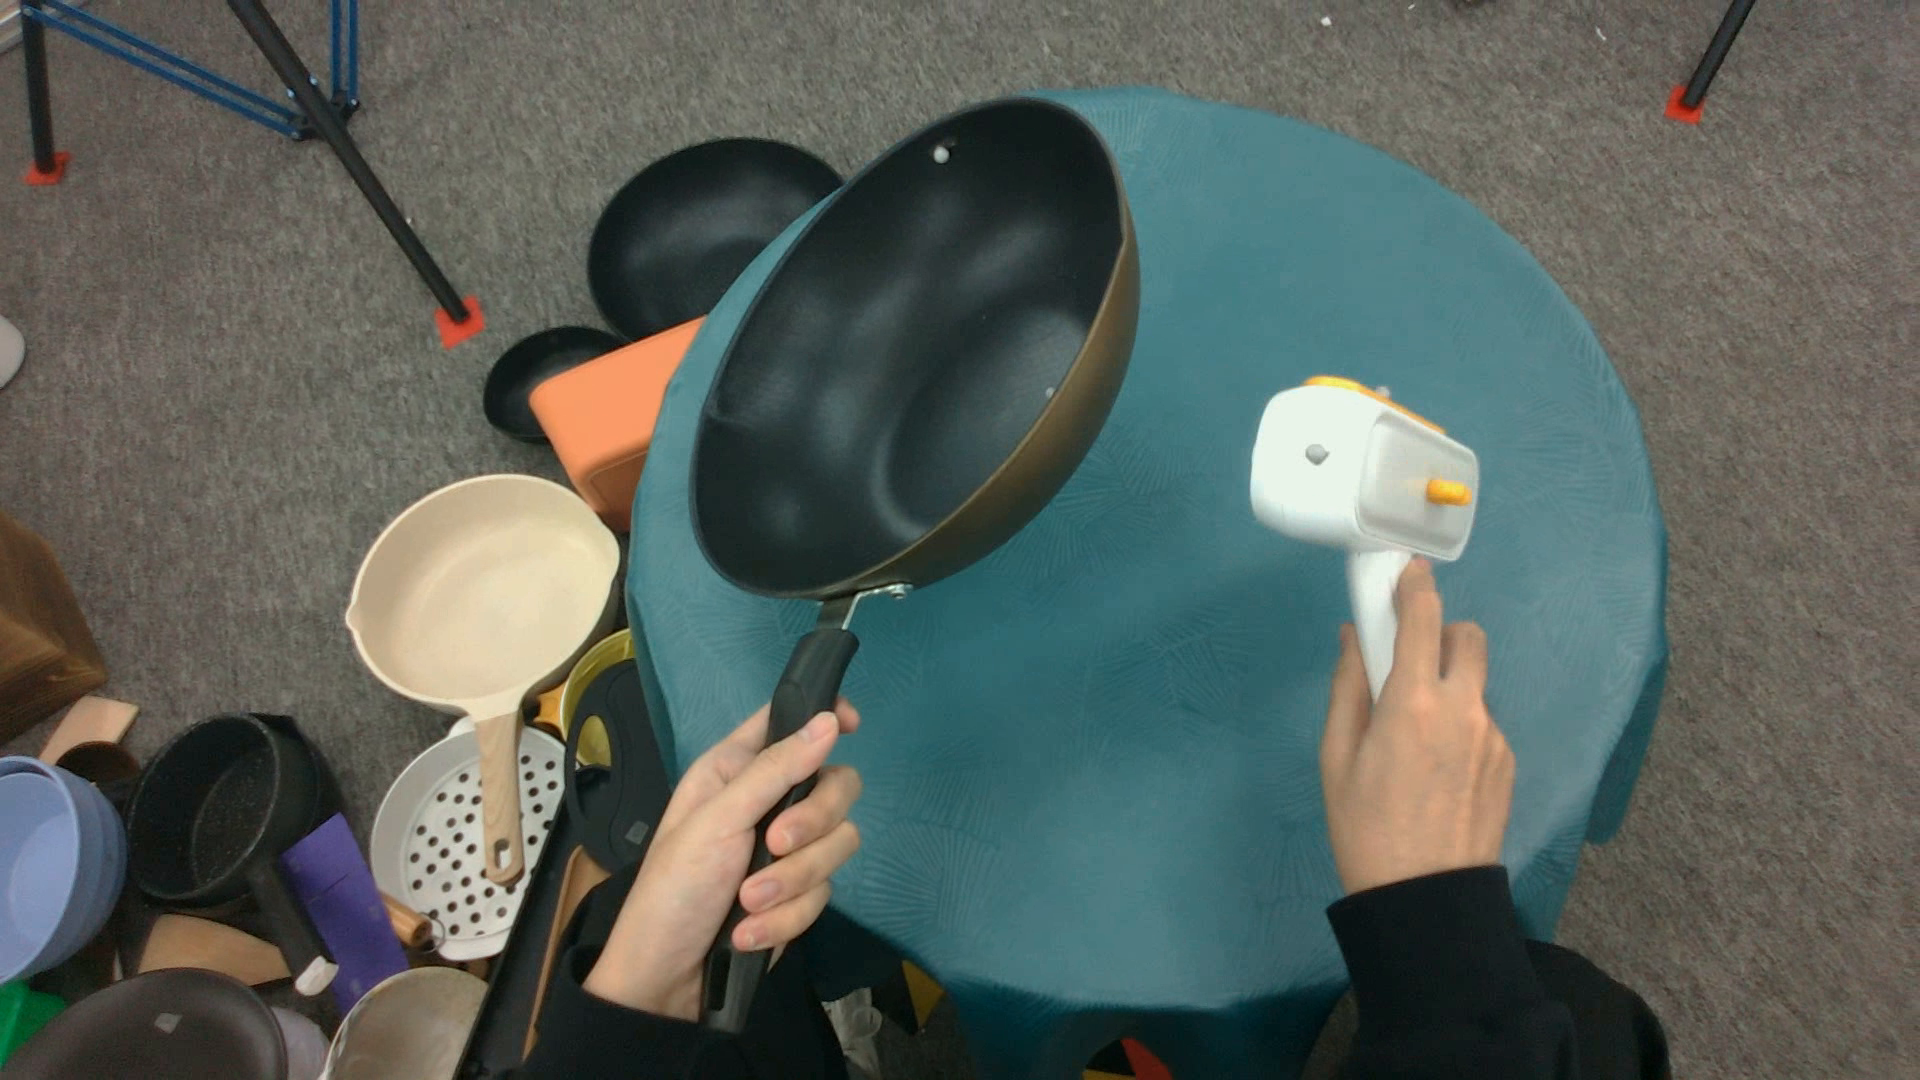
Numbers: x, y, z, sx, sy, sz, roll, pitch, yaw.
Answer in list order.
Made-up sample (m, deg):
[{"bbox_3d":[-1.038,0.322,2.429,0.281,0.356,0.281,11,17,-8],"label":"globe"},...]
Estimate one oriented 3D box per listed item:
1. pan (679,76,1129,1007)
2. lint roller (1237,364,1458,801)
[{"bbox_3d":[-0.035,-0.011,0.653,0.287,0.087,0.465,-14,55,40],"label":"pan"},{"bbox_3d":[0.190,0.022,0.636,0.074,0.193,0.192,-1,88,30],"label":"lint roller"}]
